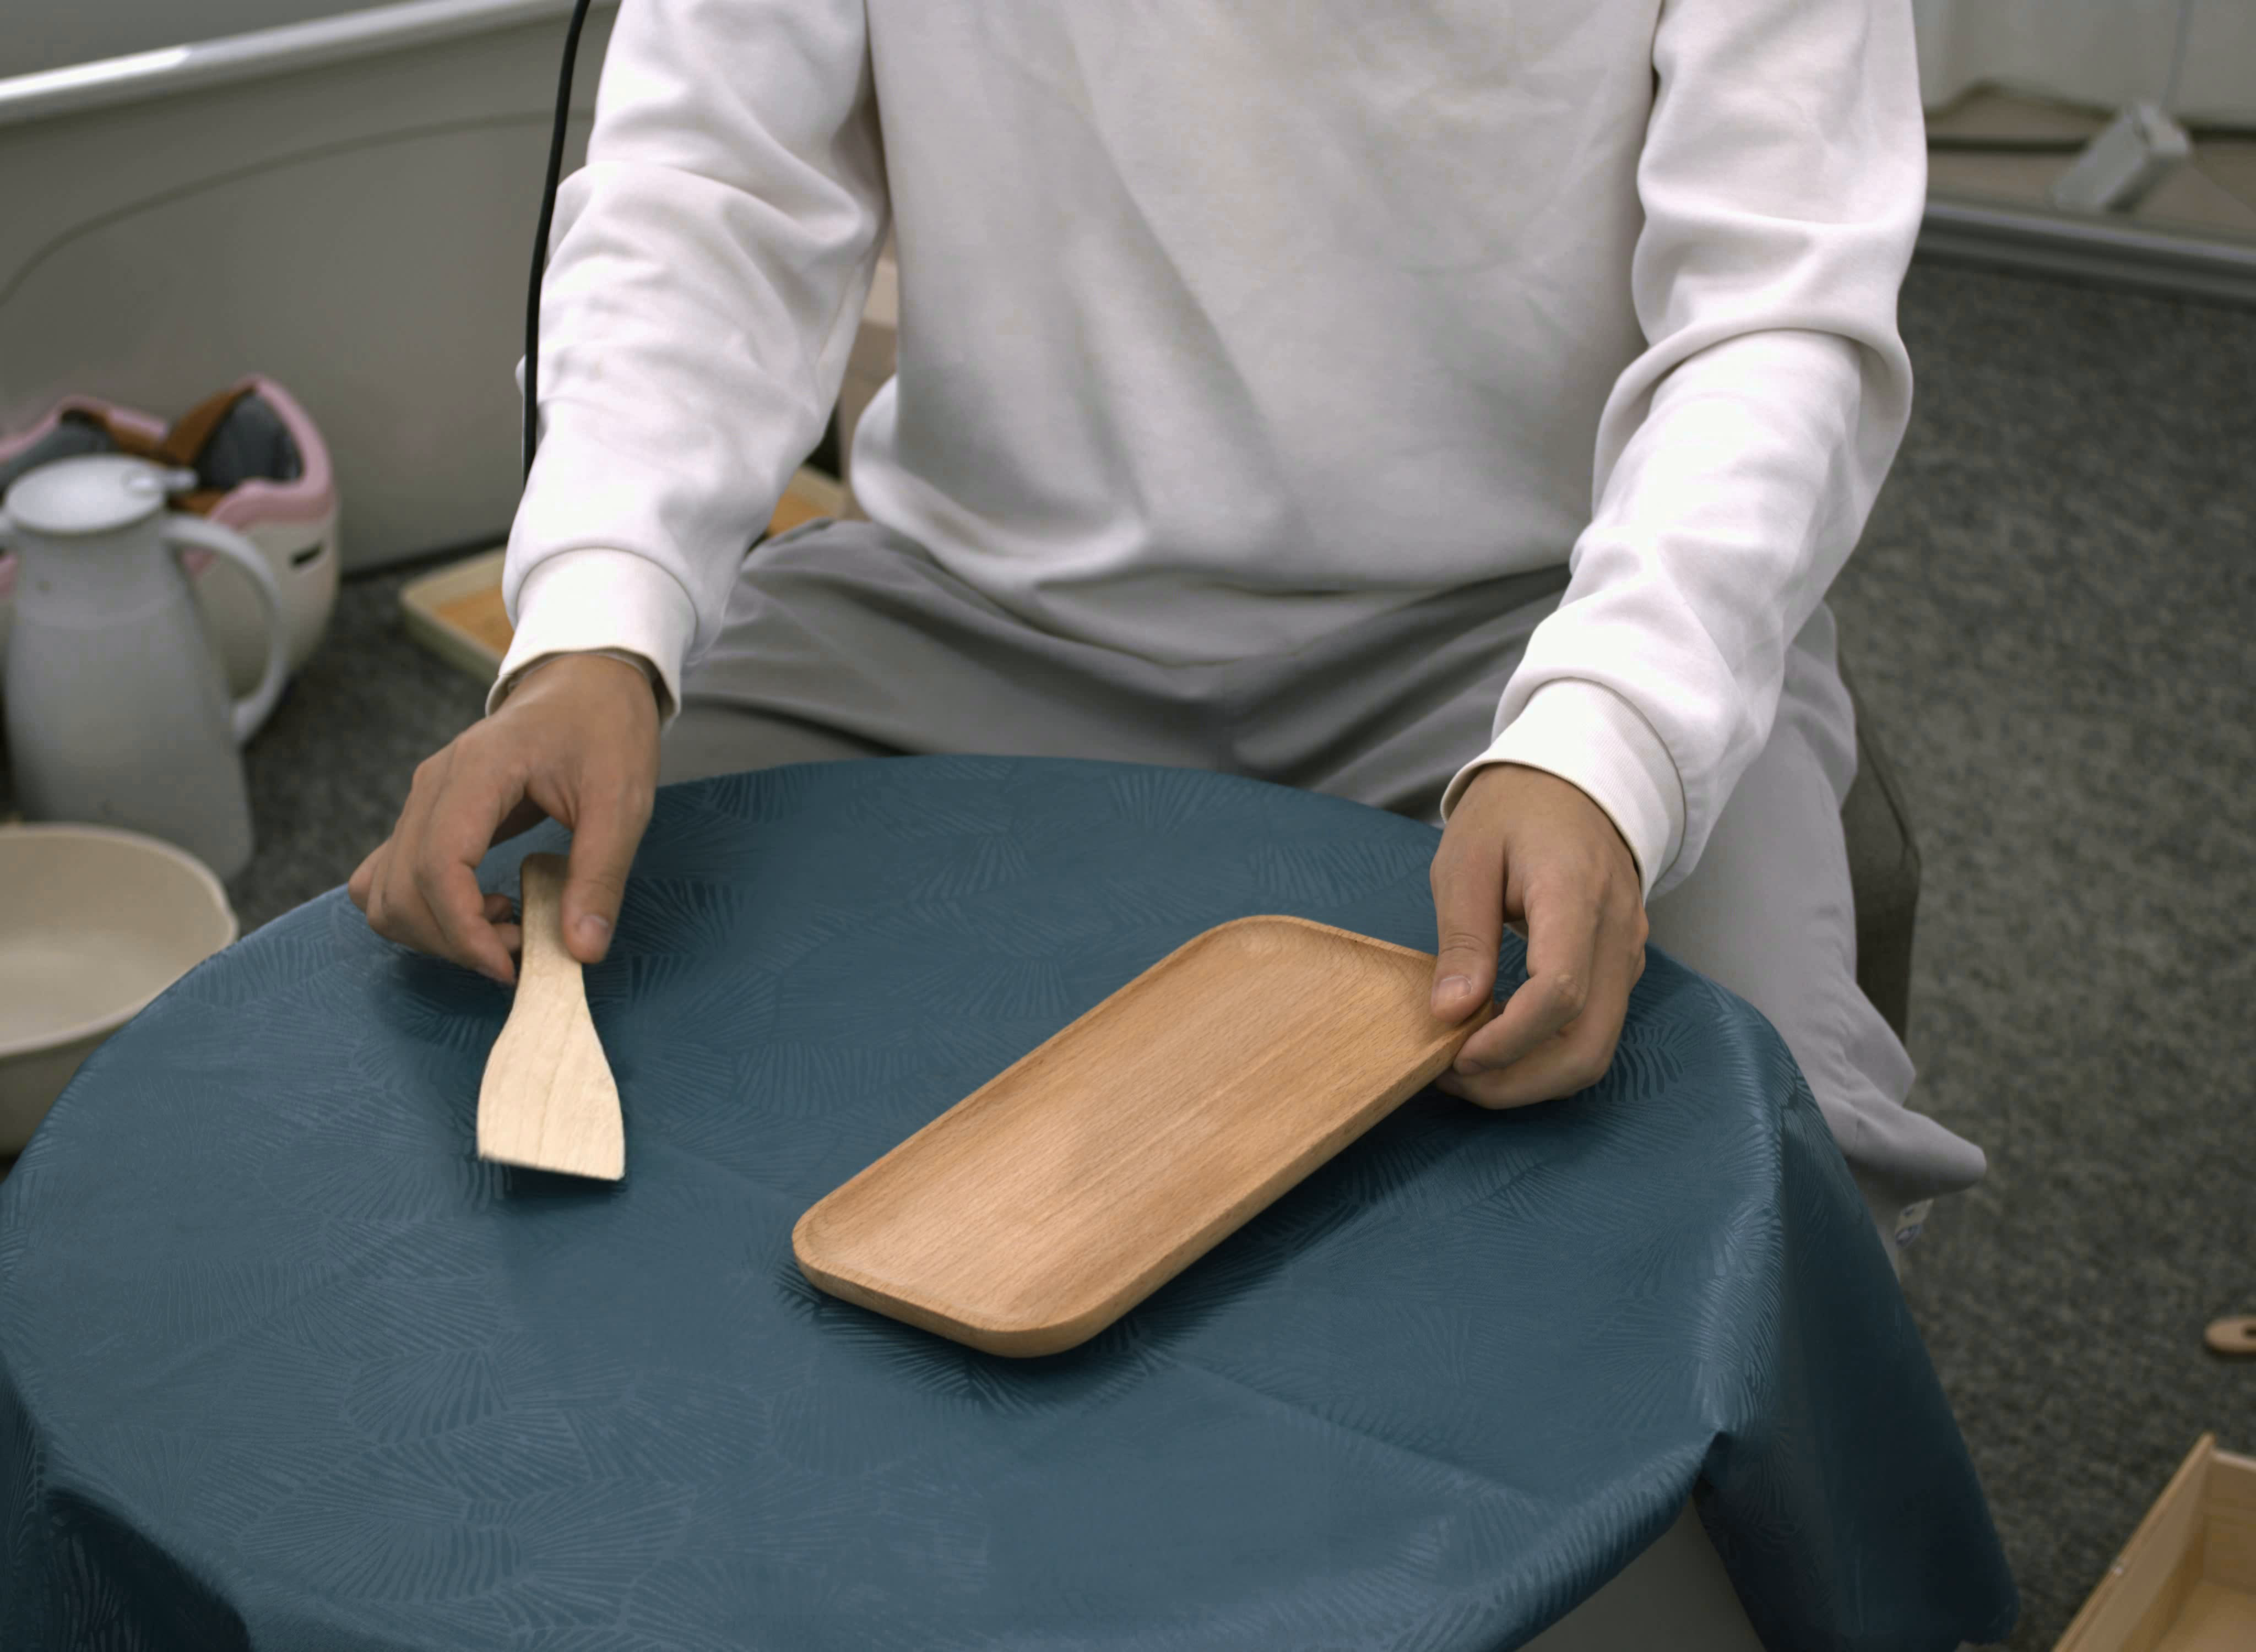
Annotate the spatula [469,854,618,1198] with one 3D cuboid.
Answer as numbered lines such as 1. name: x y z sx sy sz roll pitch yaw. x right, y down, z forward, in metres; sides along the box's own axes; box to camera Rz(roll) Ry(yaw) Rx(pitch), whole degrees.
1. spatula: -0.201 0.067 1.954 0.050 0.005 0.211 8 31 -8

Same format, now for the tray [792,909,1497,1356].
1. tray: 0.008 0.099 1.863 0.130 0.022 0.254 18 37 38
